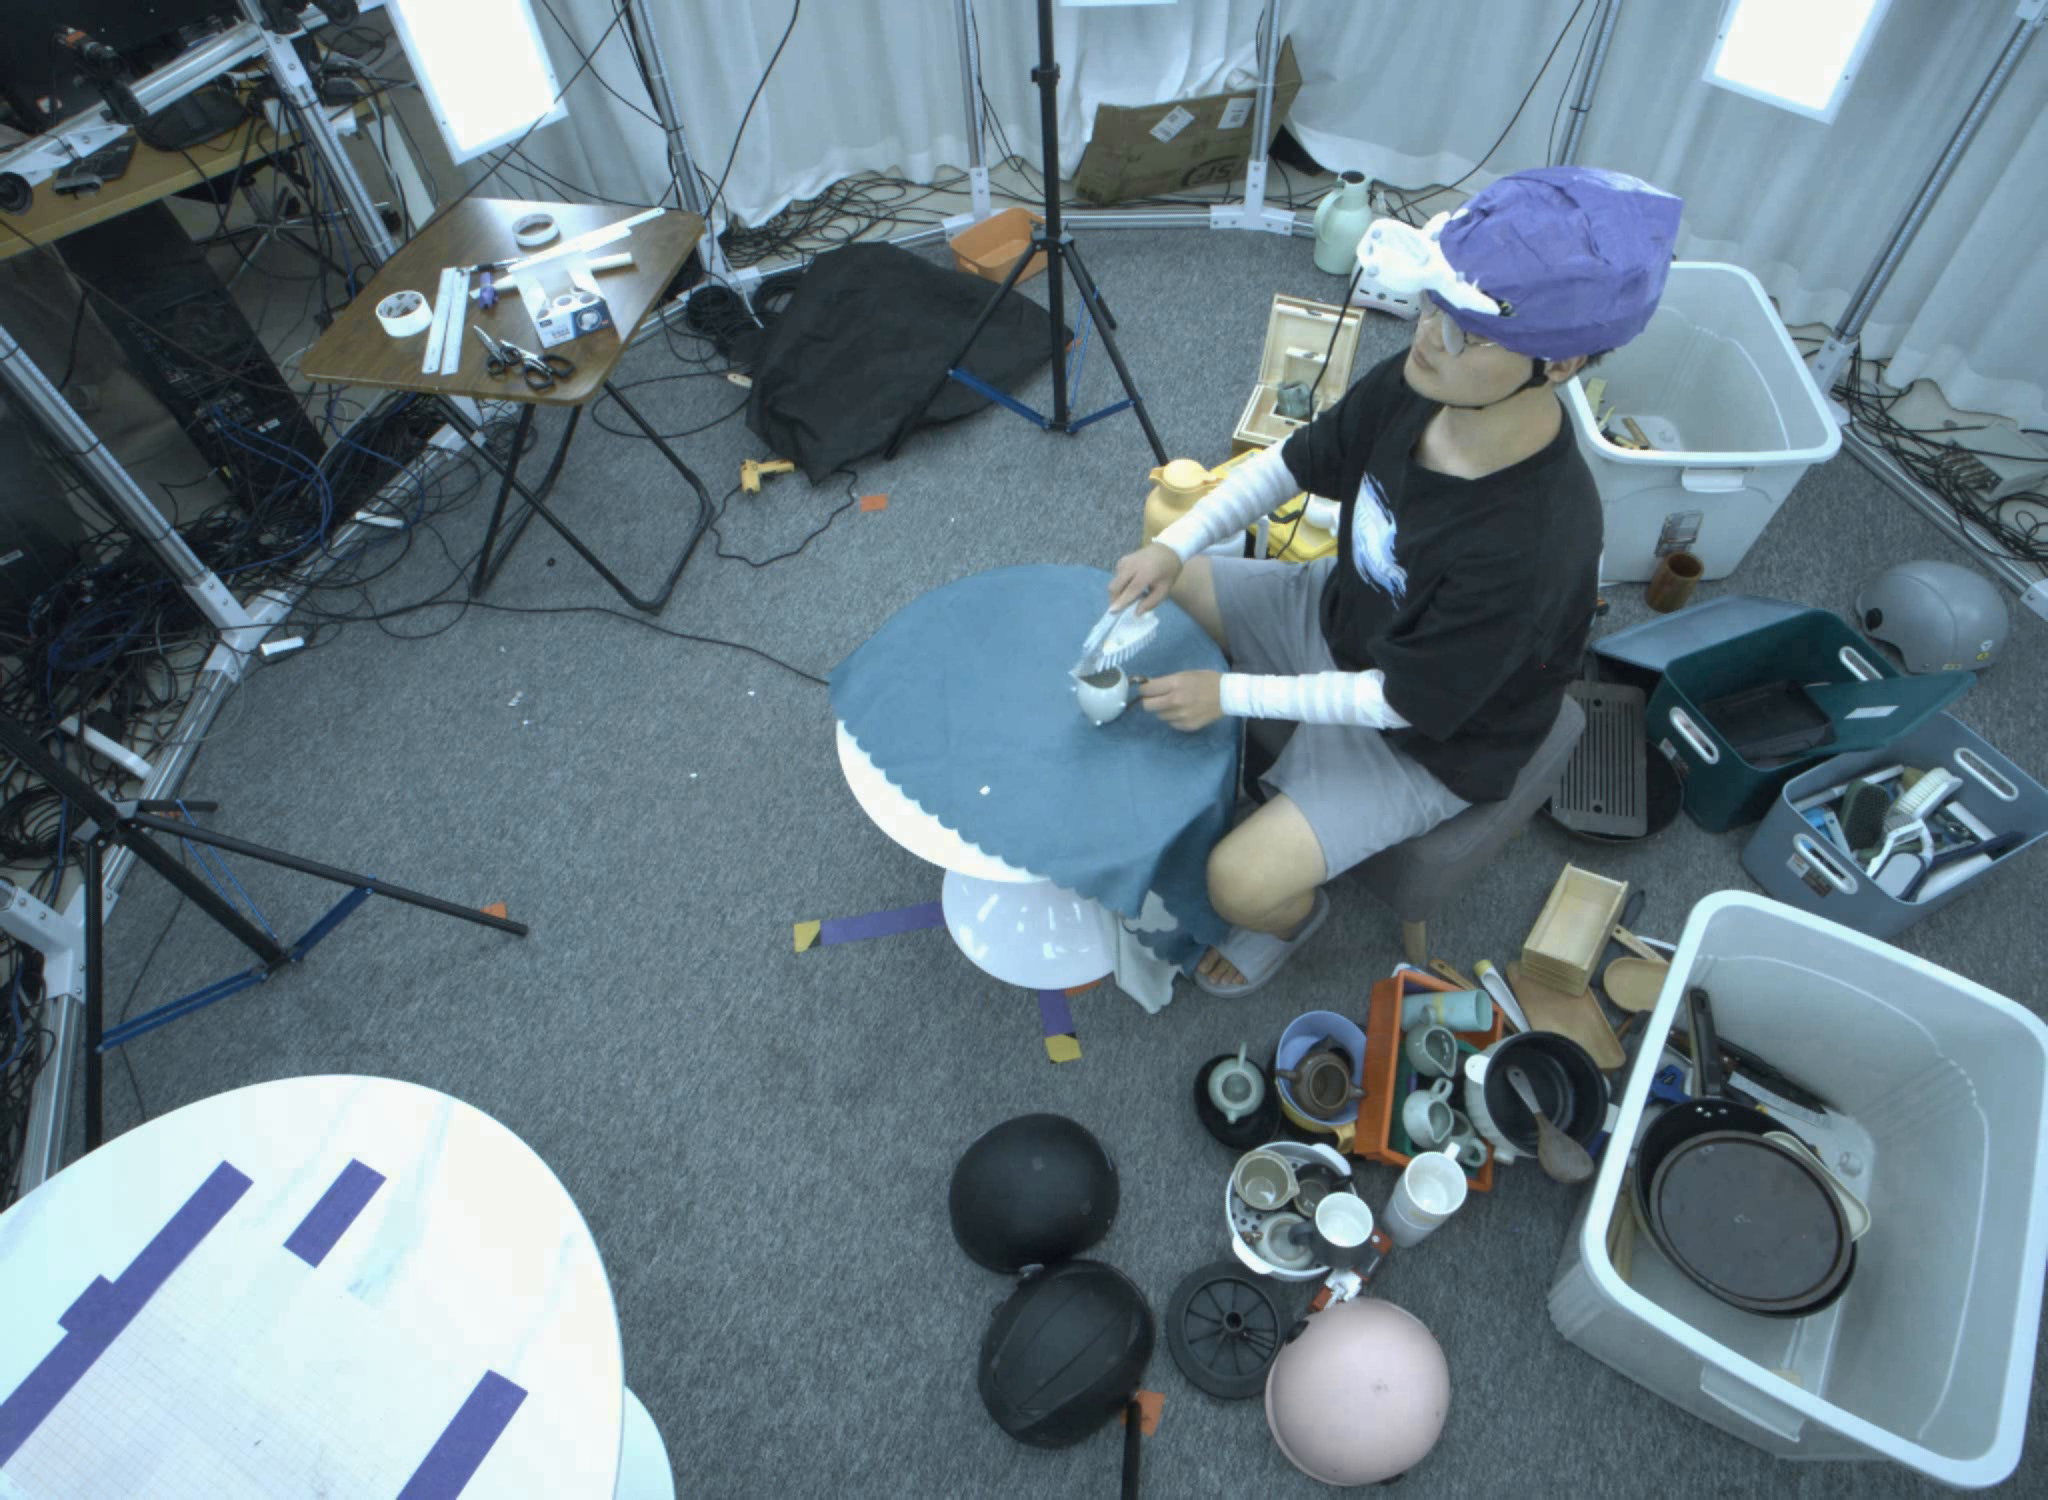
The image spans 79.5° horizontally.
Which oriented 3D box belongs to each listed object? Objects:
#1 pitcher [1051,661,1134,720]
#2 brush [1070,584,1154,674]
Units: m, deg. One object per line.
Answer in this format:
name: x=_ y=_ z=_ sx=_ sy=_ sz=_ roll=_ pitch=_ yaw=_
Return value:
pitcher: x=0.101 y=-0.086 z=1.783 sx=0.118 sy=0.089 sz=0.075 roll=3 pitch=58 yaw=7
brush: x=0.122 y=-0.178 z=1.758 sx=0.060 sy=0.095 sz=0.177 roll=28 pitch=44 yaw=28
